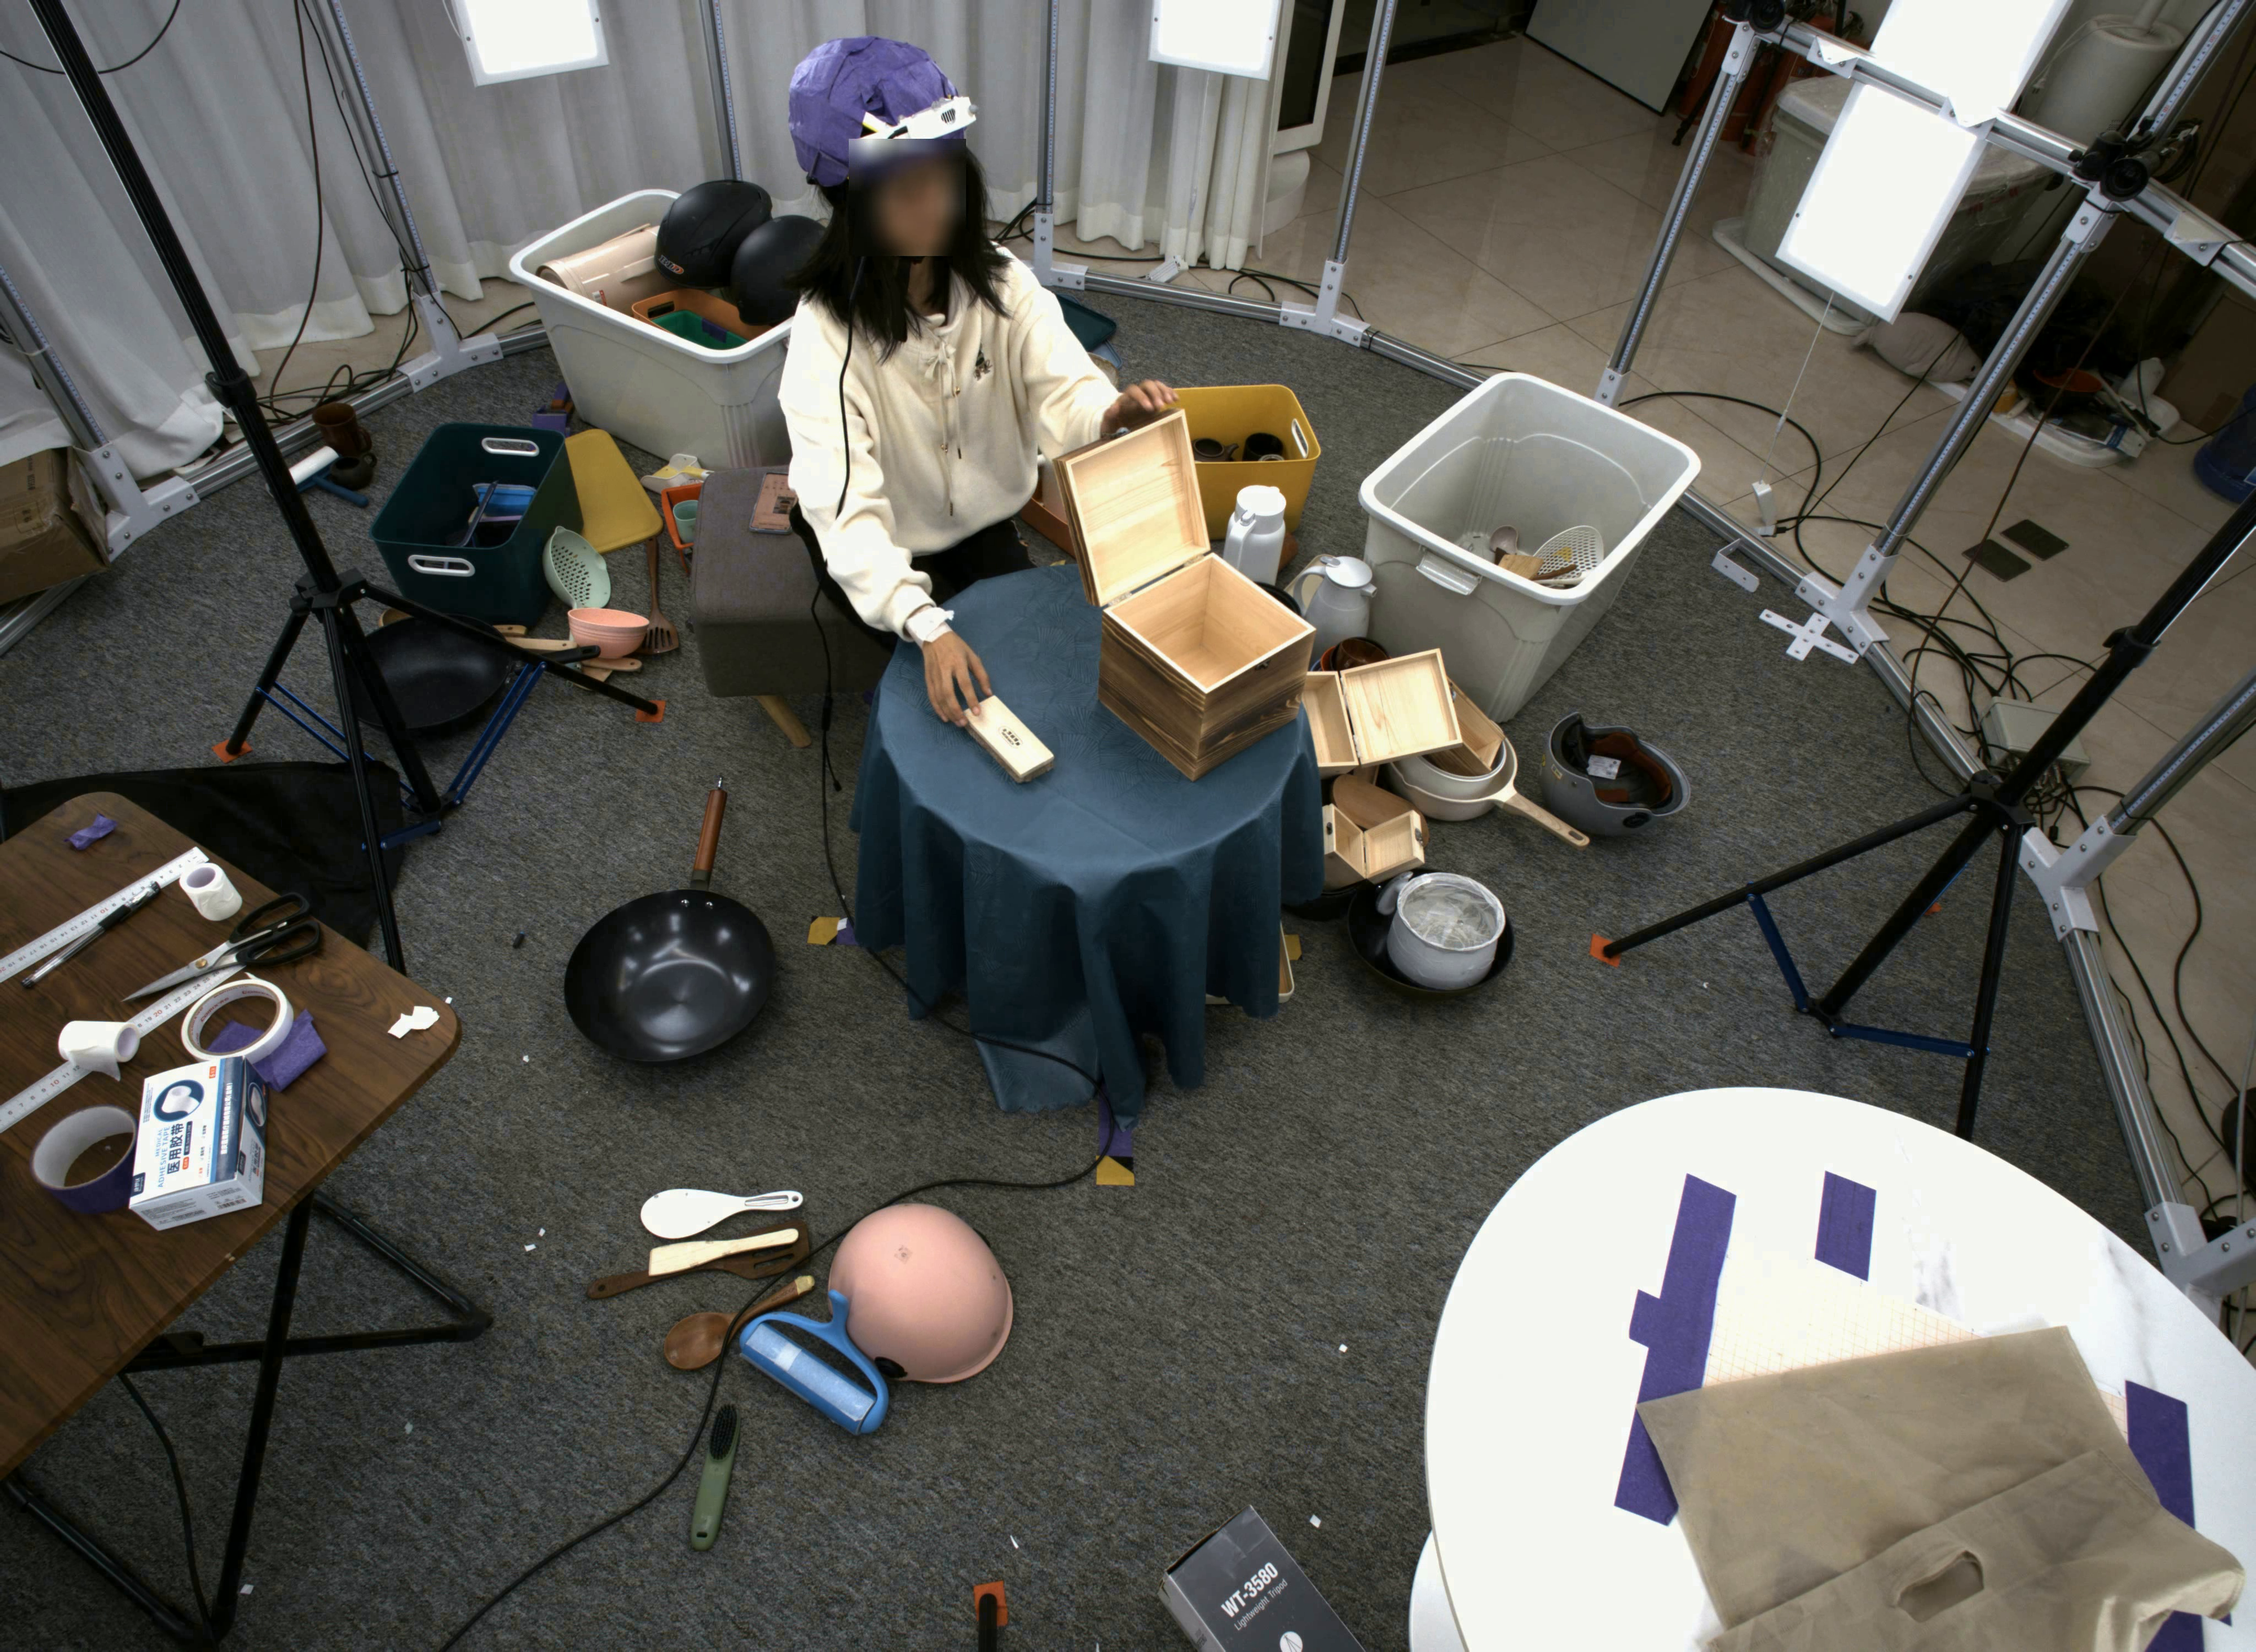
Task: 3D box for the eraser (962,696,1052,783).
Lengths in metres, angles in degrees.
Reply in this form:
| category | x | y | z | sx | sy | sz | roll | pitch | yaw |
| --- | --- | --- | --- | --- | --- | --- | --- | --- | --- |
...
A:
| category | x | y | z | sx | sy | sz | roll | pitch | yaw |
| --- | --- | --- | --- | --- | --- | --- | --- | --- | --- |
| eraser | -0.164 | -0.116 | 1.741 | 0.057 | 0.028 | 0.142 | -29 | 56 | -23 |

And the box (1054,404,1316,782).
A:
| category | x | y | z | sx | sy | sz | roll | pitch | yaw |
| --- | --- | --- | --- | --- | --- | --- | --- | --- | --- |
| box | 0.073 | -0.311 | 1.710 | 0.210 | 0.366 | 0.327 | -32 | 59 | -27 |
